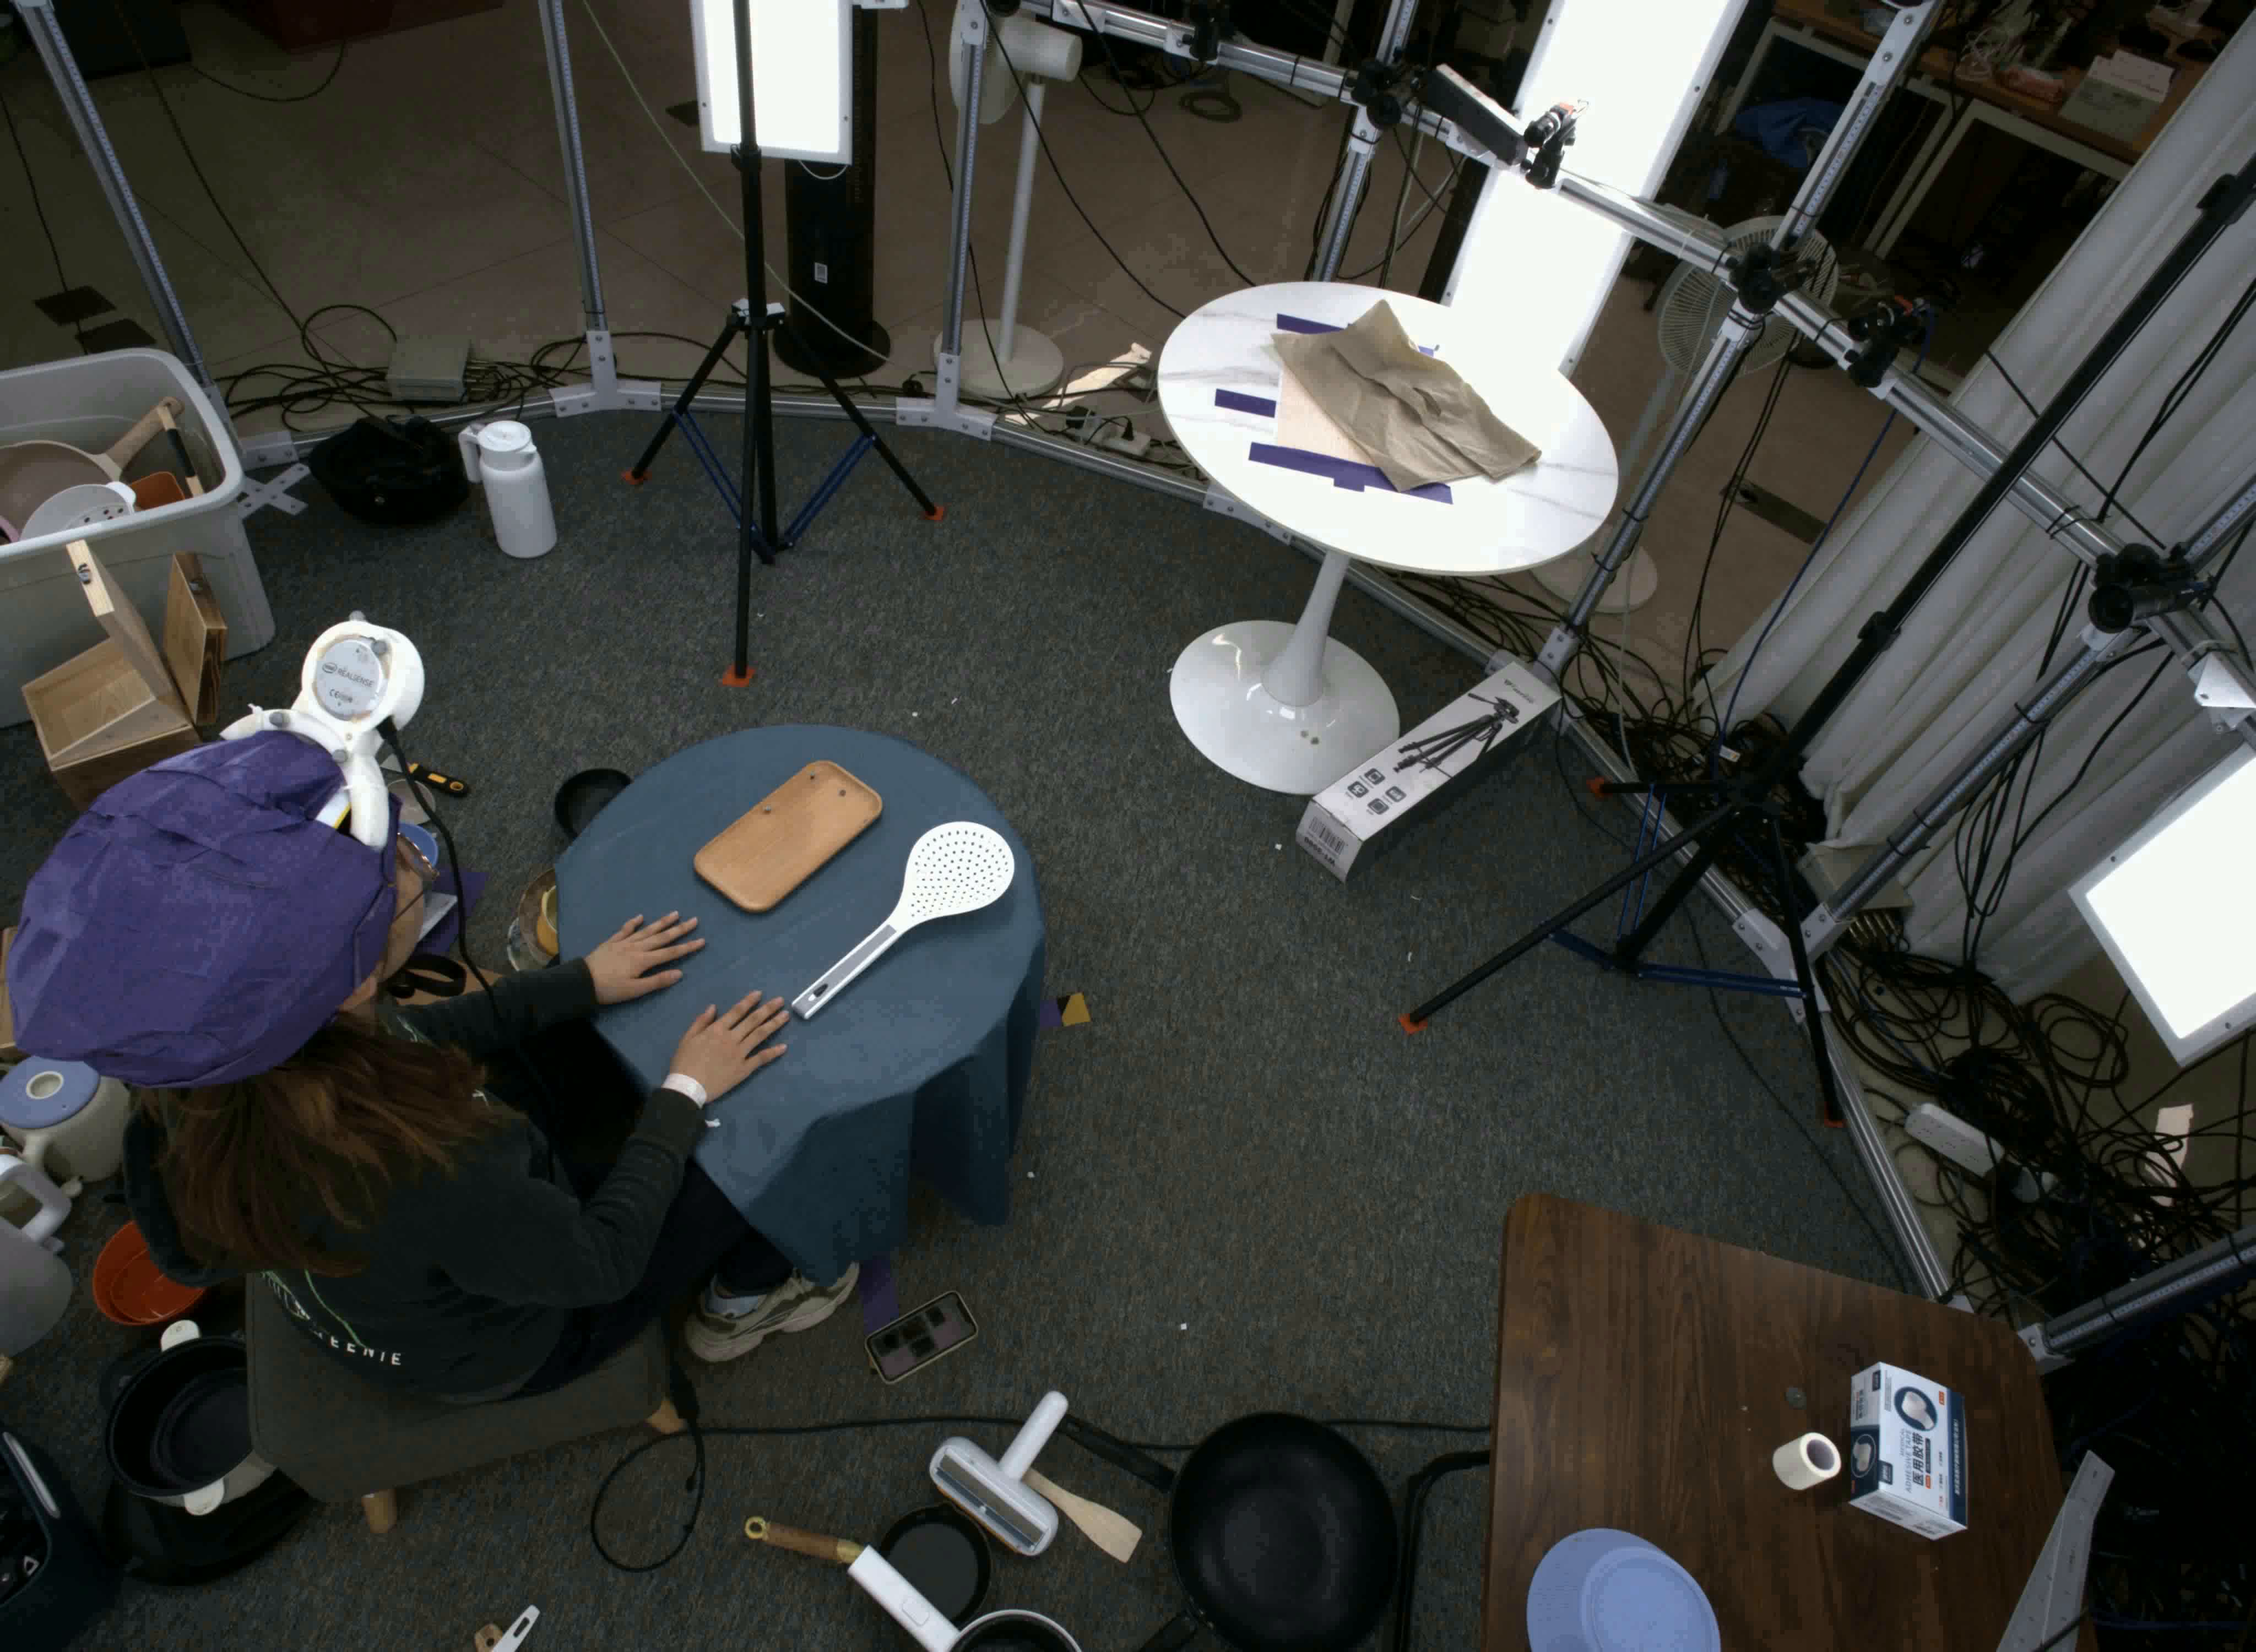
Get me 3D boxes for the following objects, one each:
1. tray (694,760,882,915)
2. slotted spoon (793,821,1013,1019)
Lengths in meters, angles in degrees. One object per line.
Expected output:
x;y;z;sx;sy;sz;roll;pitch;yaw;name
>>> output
-0.444;0.011;1.705;0.128;0.023;0.250;34;54;14;tray
-0.286;0.118;1.648;0.133;0.047;0.350;37;55;17;slotted spoon
